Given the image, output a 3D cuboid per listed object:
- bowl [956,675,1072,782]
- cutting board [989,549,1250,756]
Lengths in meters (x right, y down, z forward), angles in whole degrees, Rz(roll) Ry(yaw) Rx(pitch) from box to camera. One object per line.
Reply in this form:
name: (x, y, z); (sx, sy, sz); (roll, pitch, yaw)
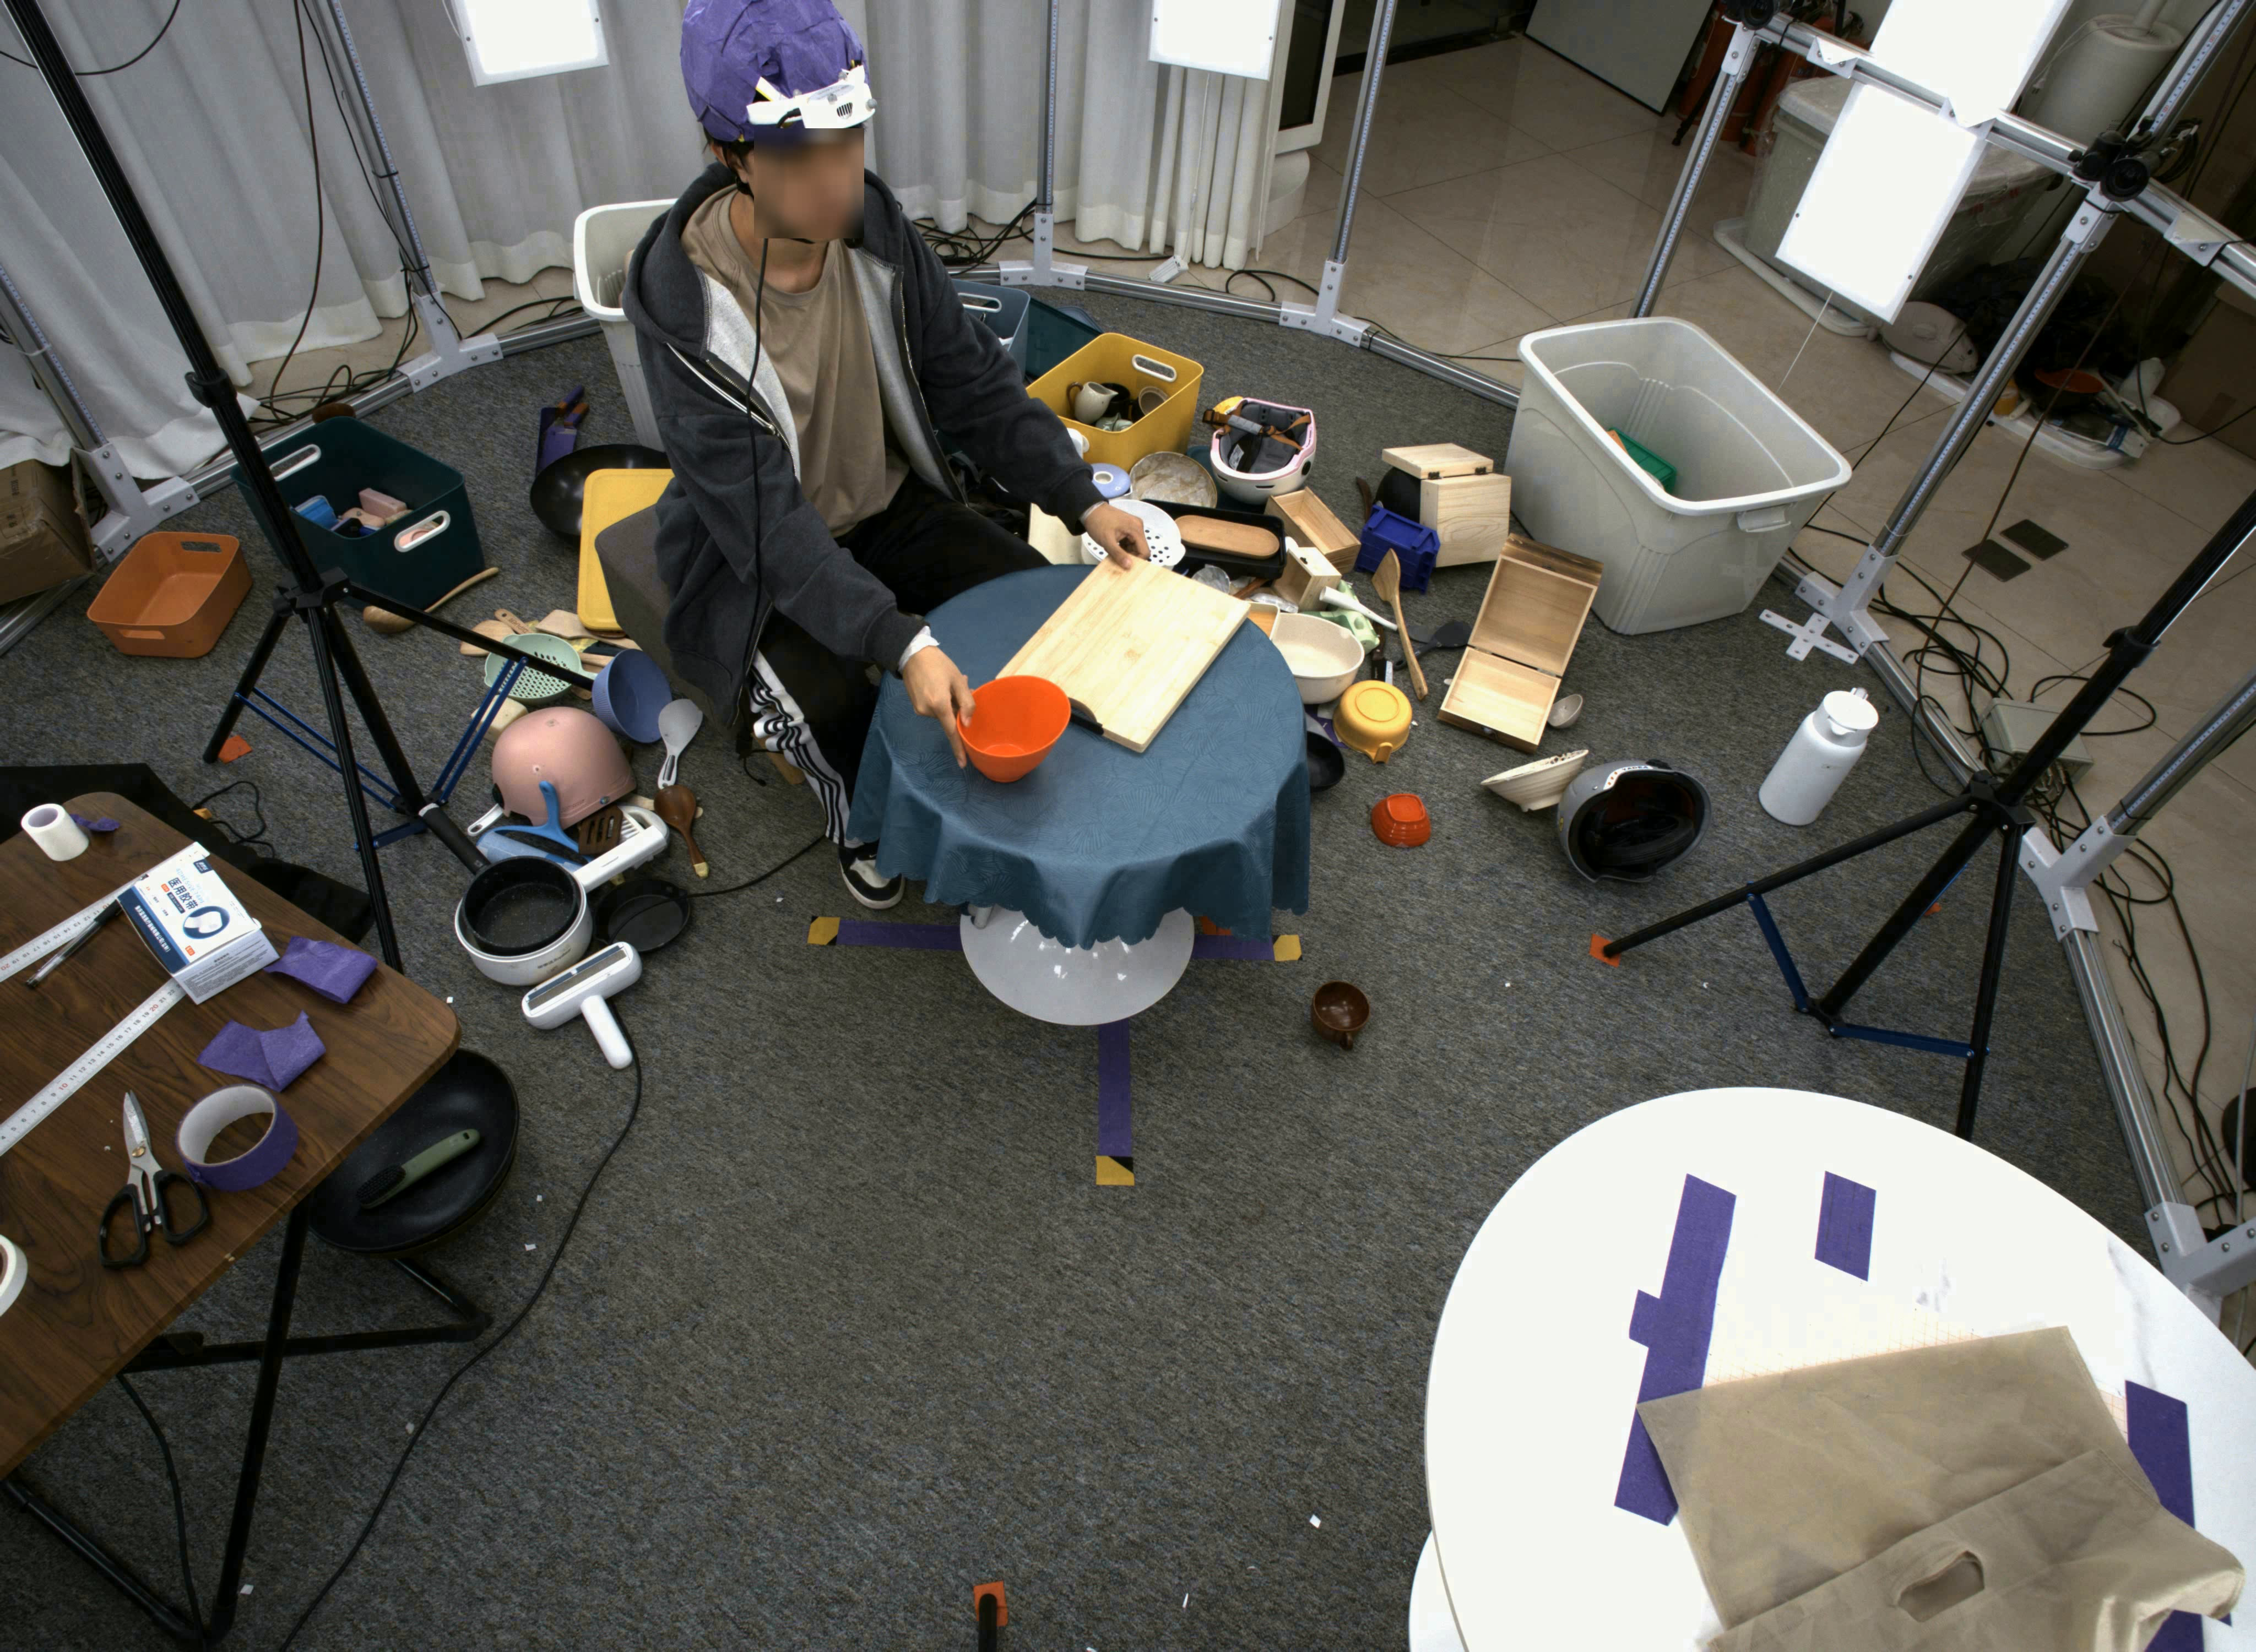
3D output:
bowl: (-0.152, -0.117, 1.689); (0.148, 0.102, 0.152); (4, 49, -5)
cutting board: (-0.005, -0.262, 1.879); (0.252, 0.023, 0.354); (24, 53, 17)
